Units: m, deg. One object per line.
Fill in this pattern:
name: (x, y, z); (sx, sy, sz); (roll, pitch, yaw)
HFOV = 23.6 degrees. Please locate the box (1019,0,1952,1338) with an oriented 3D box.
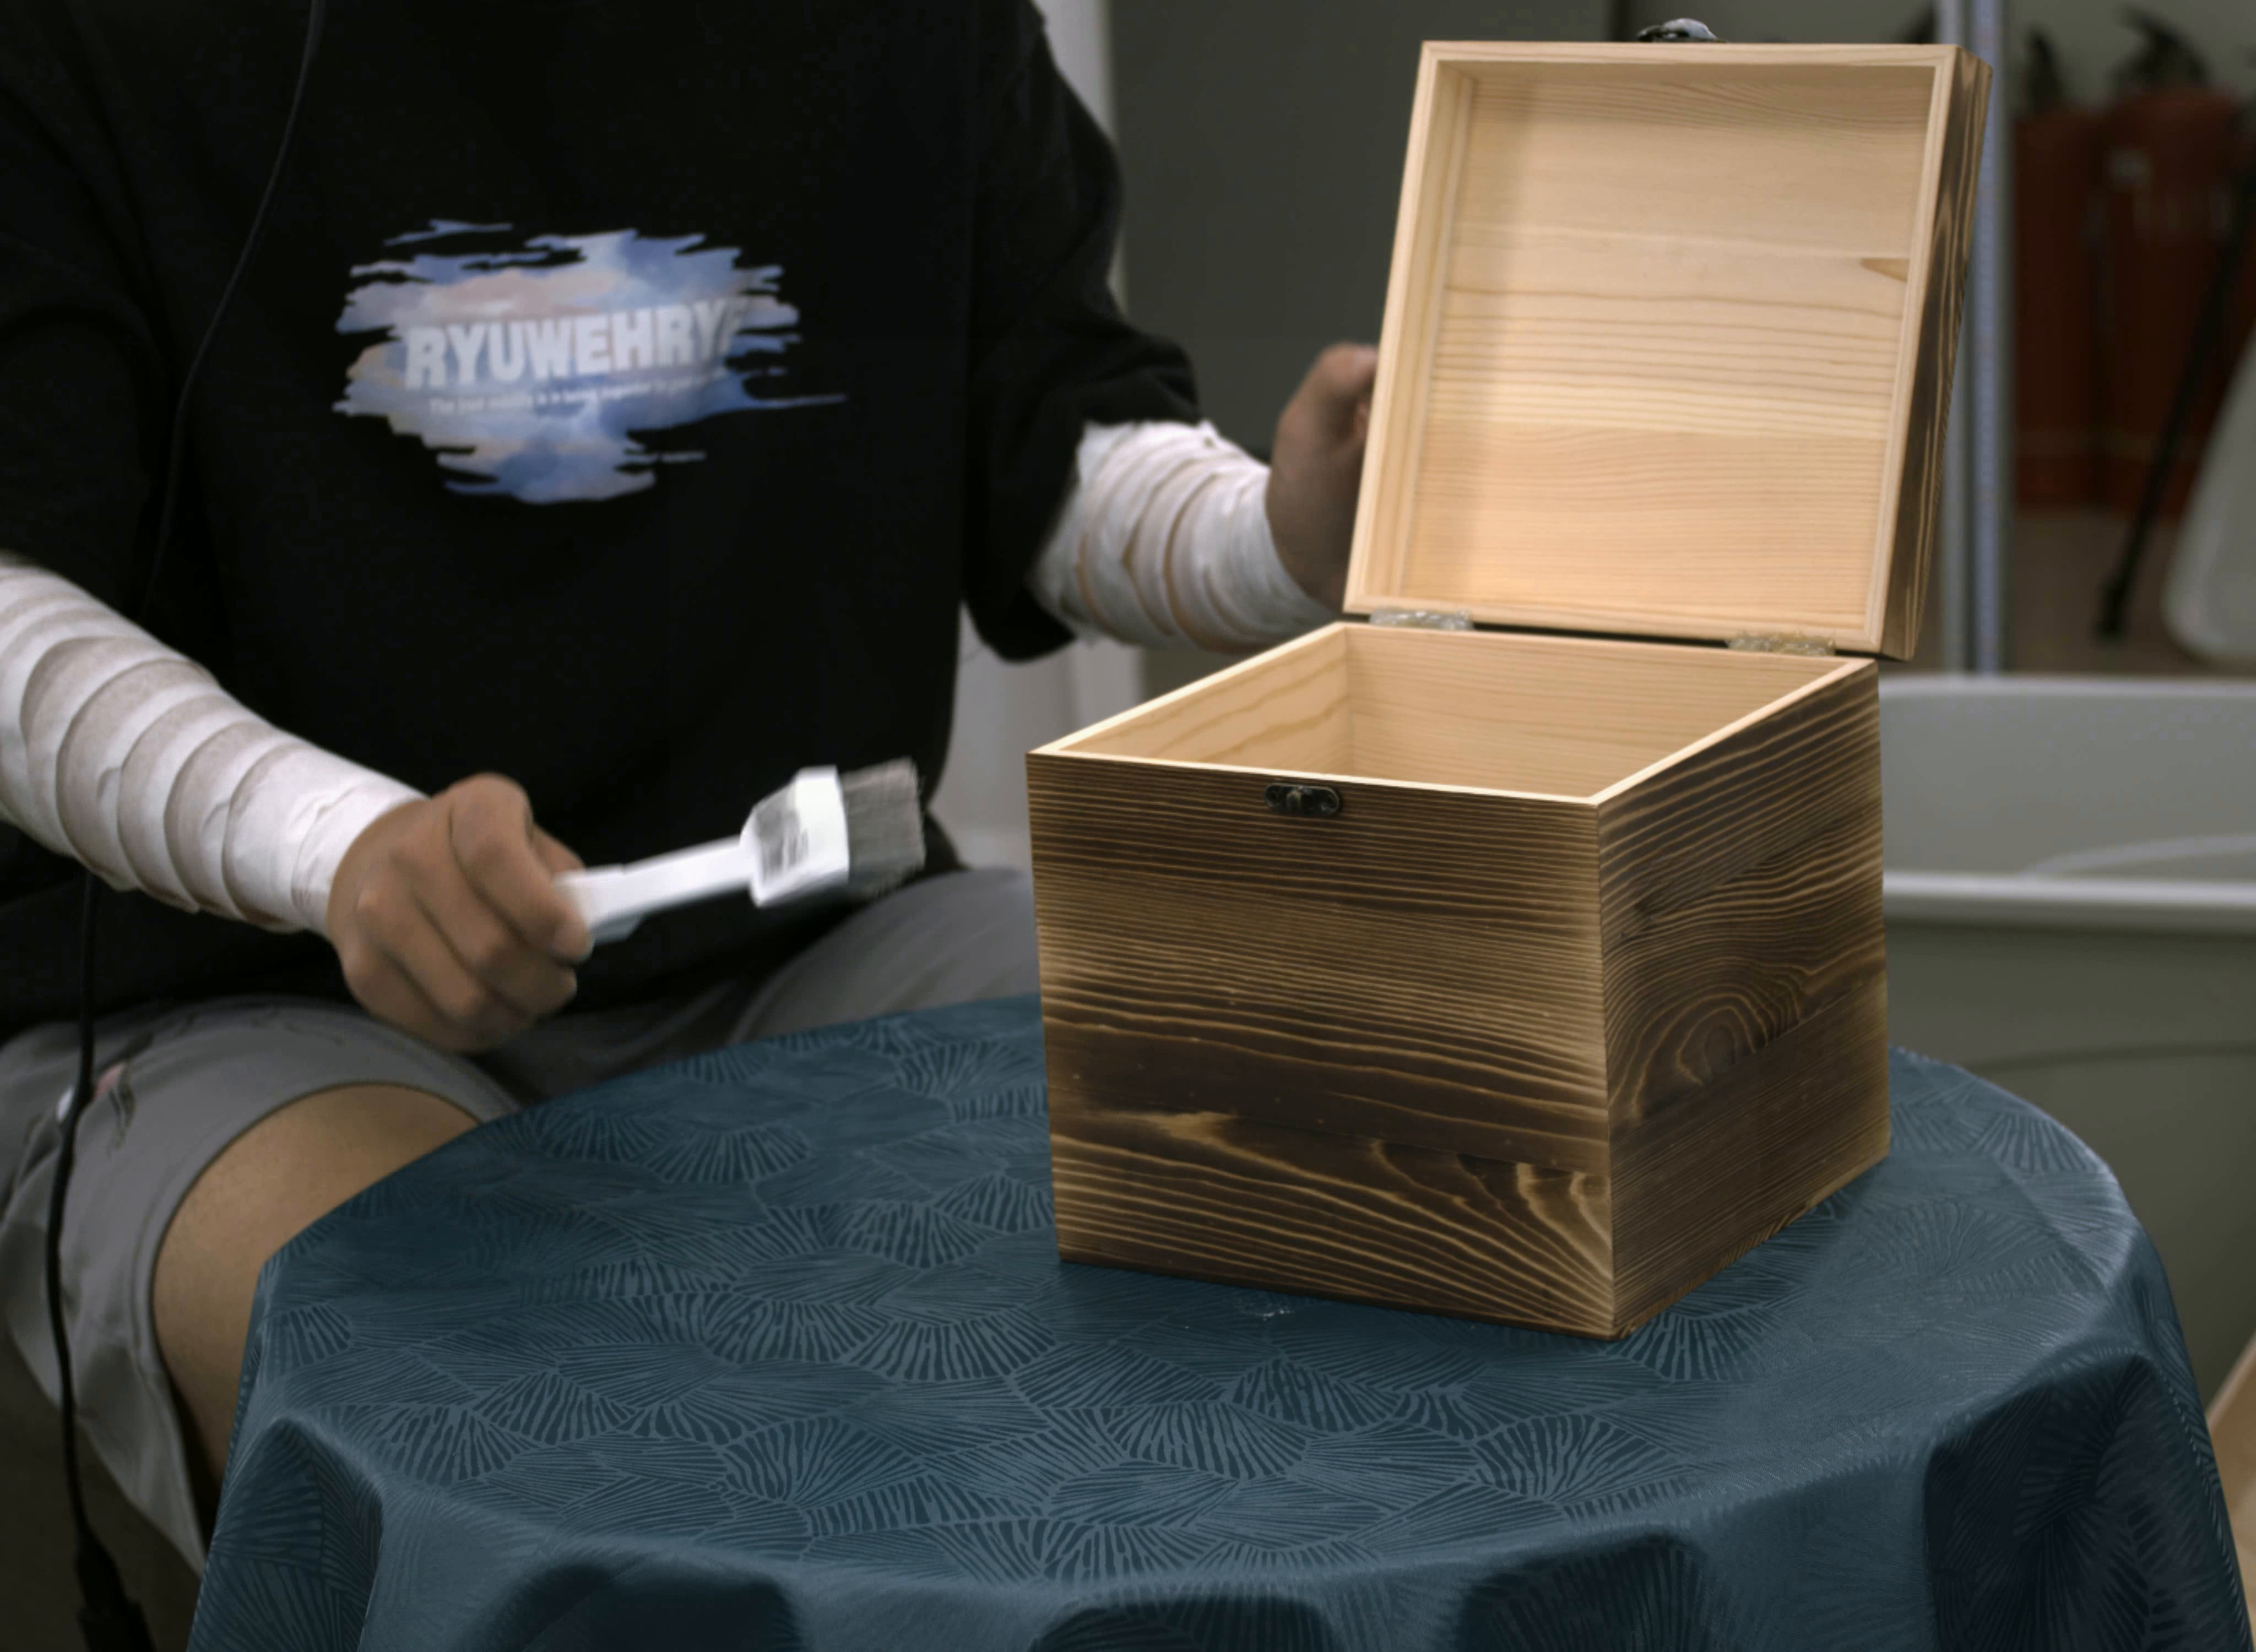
box: (0.127, -0.067, 1.732); (0.210, 0.379, 0.317); (3, 15, 32)

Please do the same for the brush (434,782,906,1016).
brush: (-0.142, 0.026, 1.689); (0.049, 0.035, 0.246); (-1, -12, -35)
